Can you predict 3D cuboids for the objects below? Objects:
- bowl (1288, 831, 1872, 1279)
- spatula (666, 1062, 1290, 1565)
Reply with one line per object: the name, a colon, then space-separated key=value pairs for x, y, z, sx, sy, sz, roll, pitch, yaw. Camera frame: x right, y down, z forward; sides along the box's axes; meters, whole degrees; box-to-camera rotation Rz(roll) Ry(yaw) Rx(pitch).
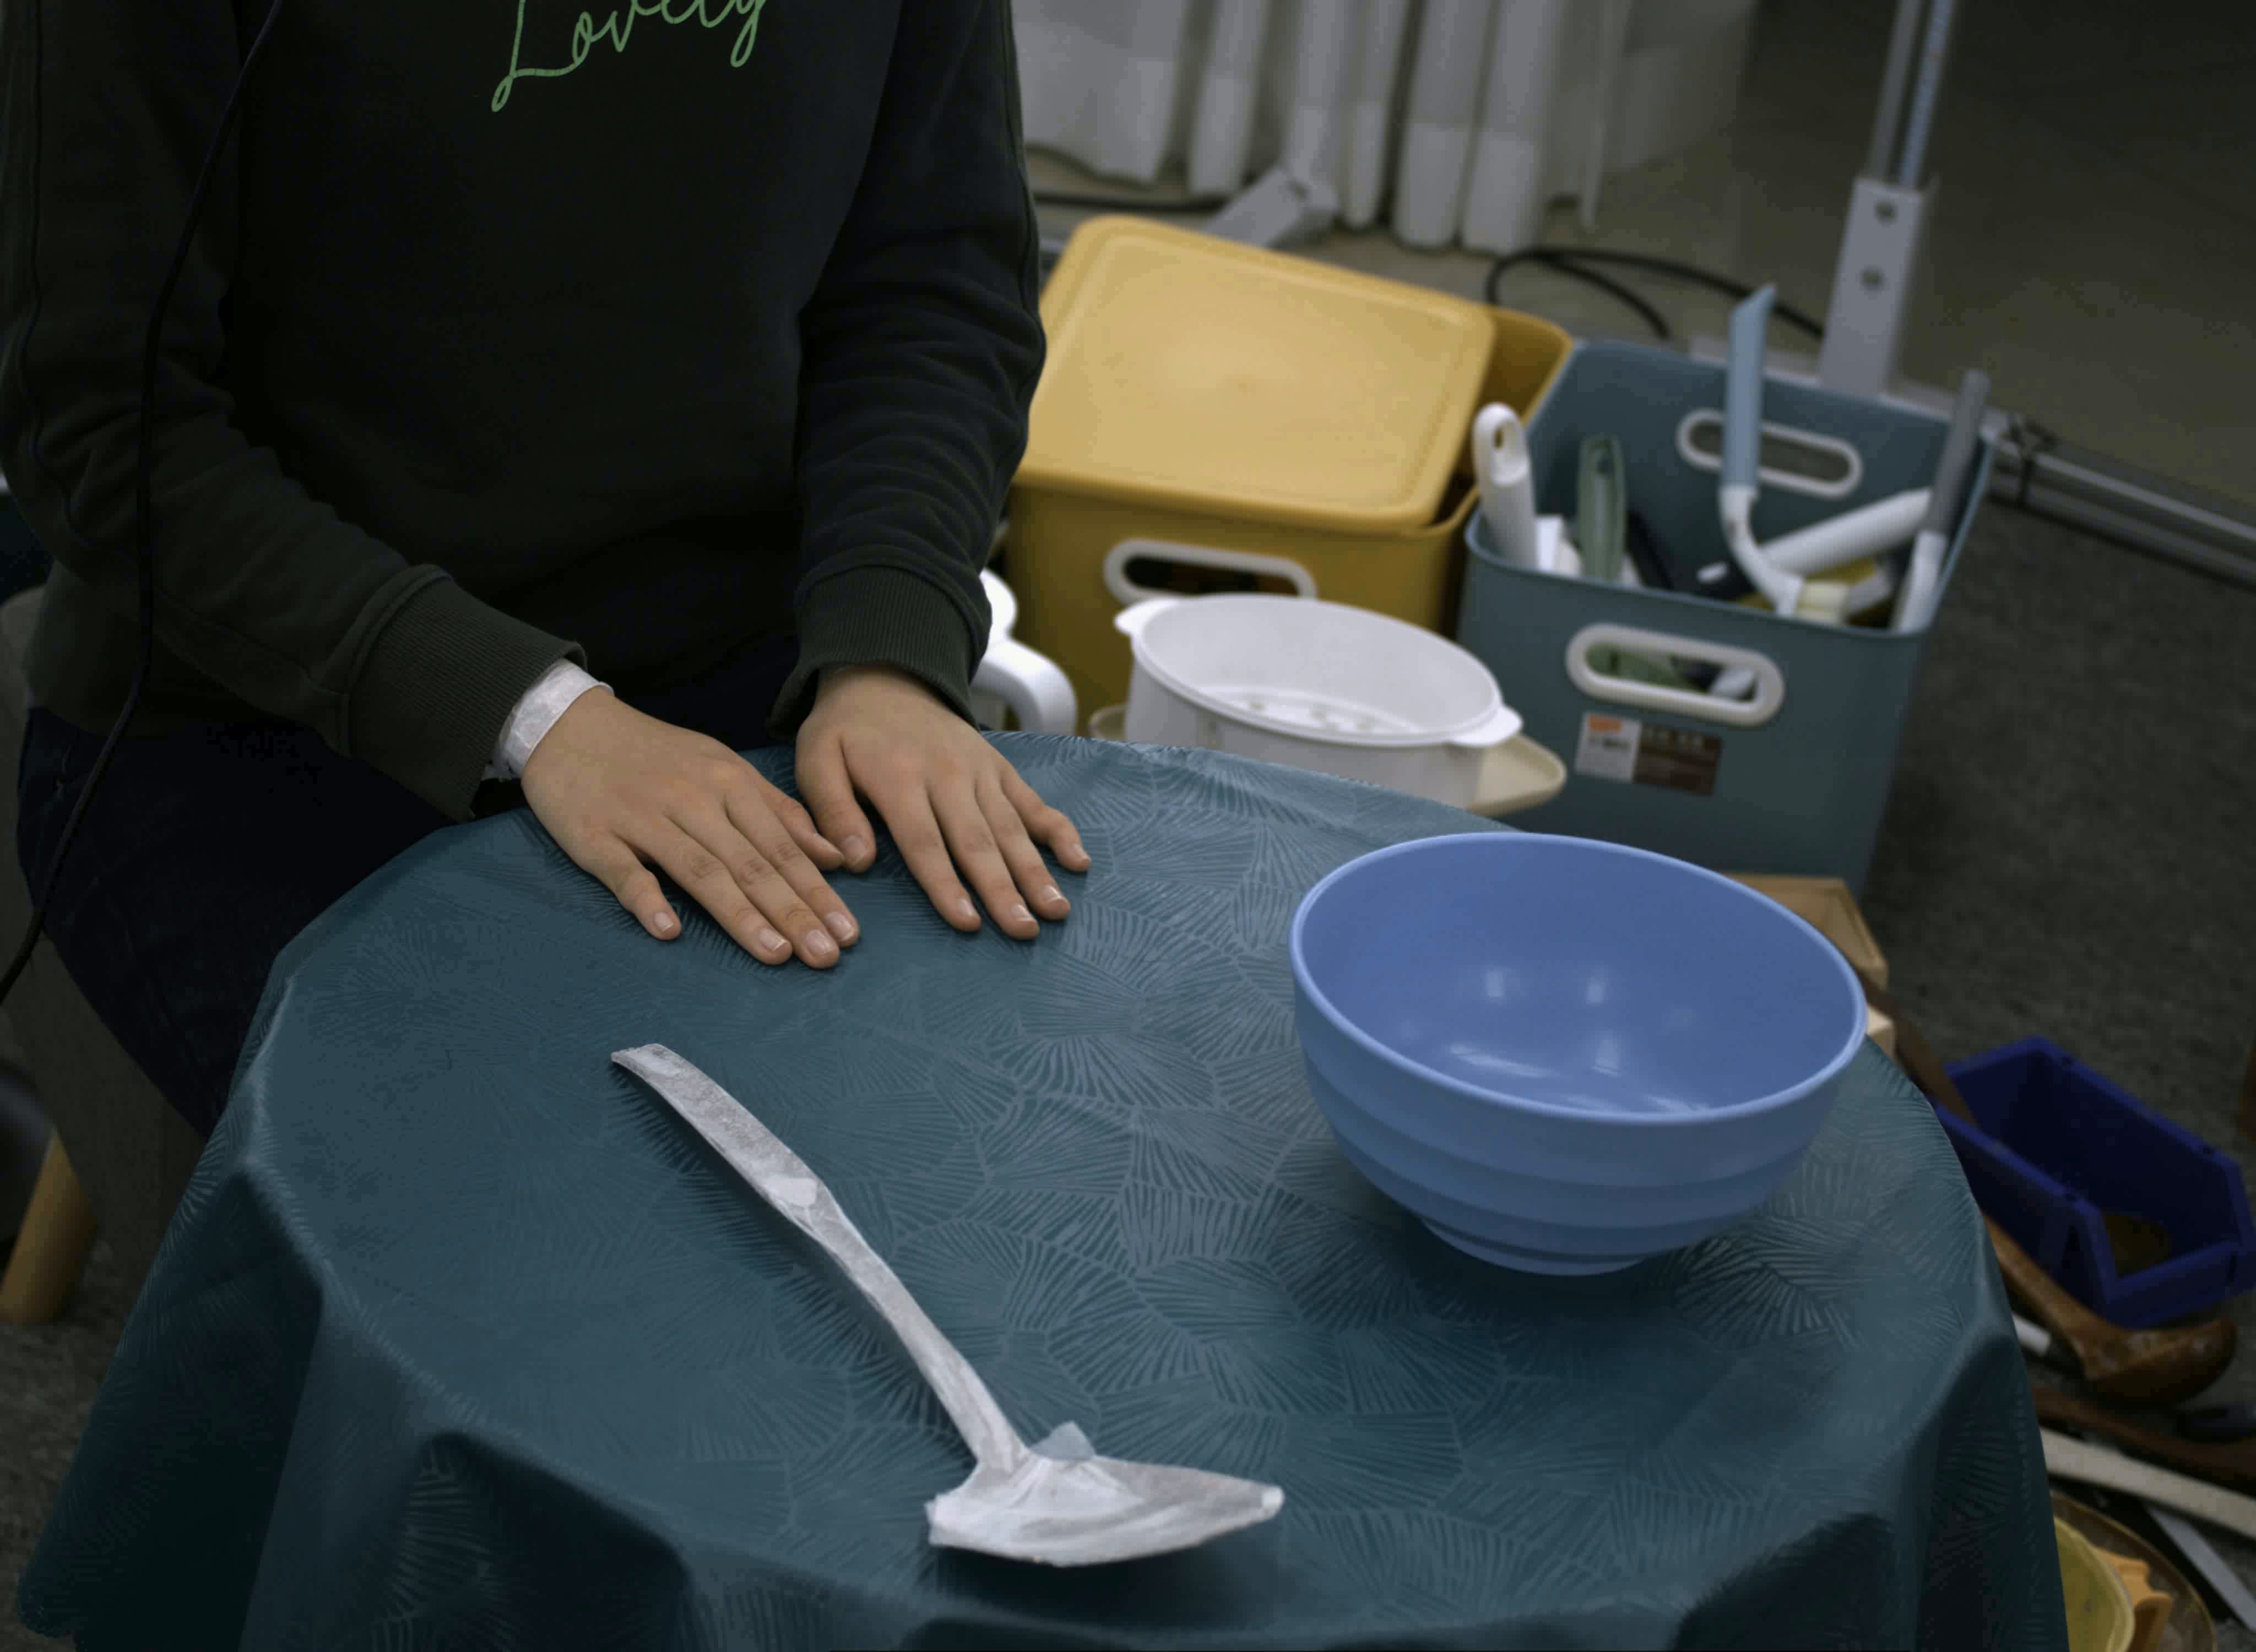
bowl: x=0.146 y=0.089 z=1.798 sx=0.196 sy=0.095 sz=0.198 roll=5 pitch=28 yaw=-3
spatula: x=-0.073 y=0.146 z=1.696 sx=0.098 sy=0.044 sz=0.368 roll=-10 pitch=31 yaw=-27
